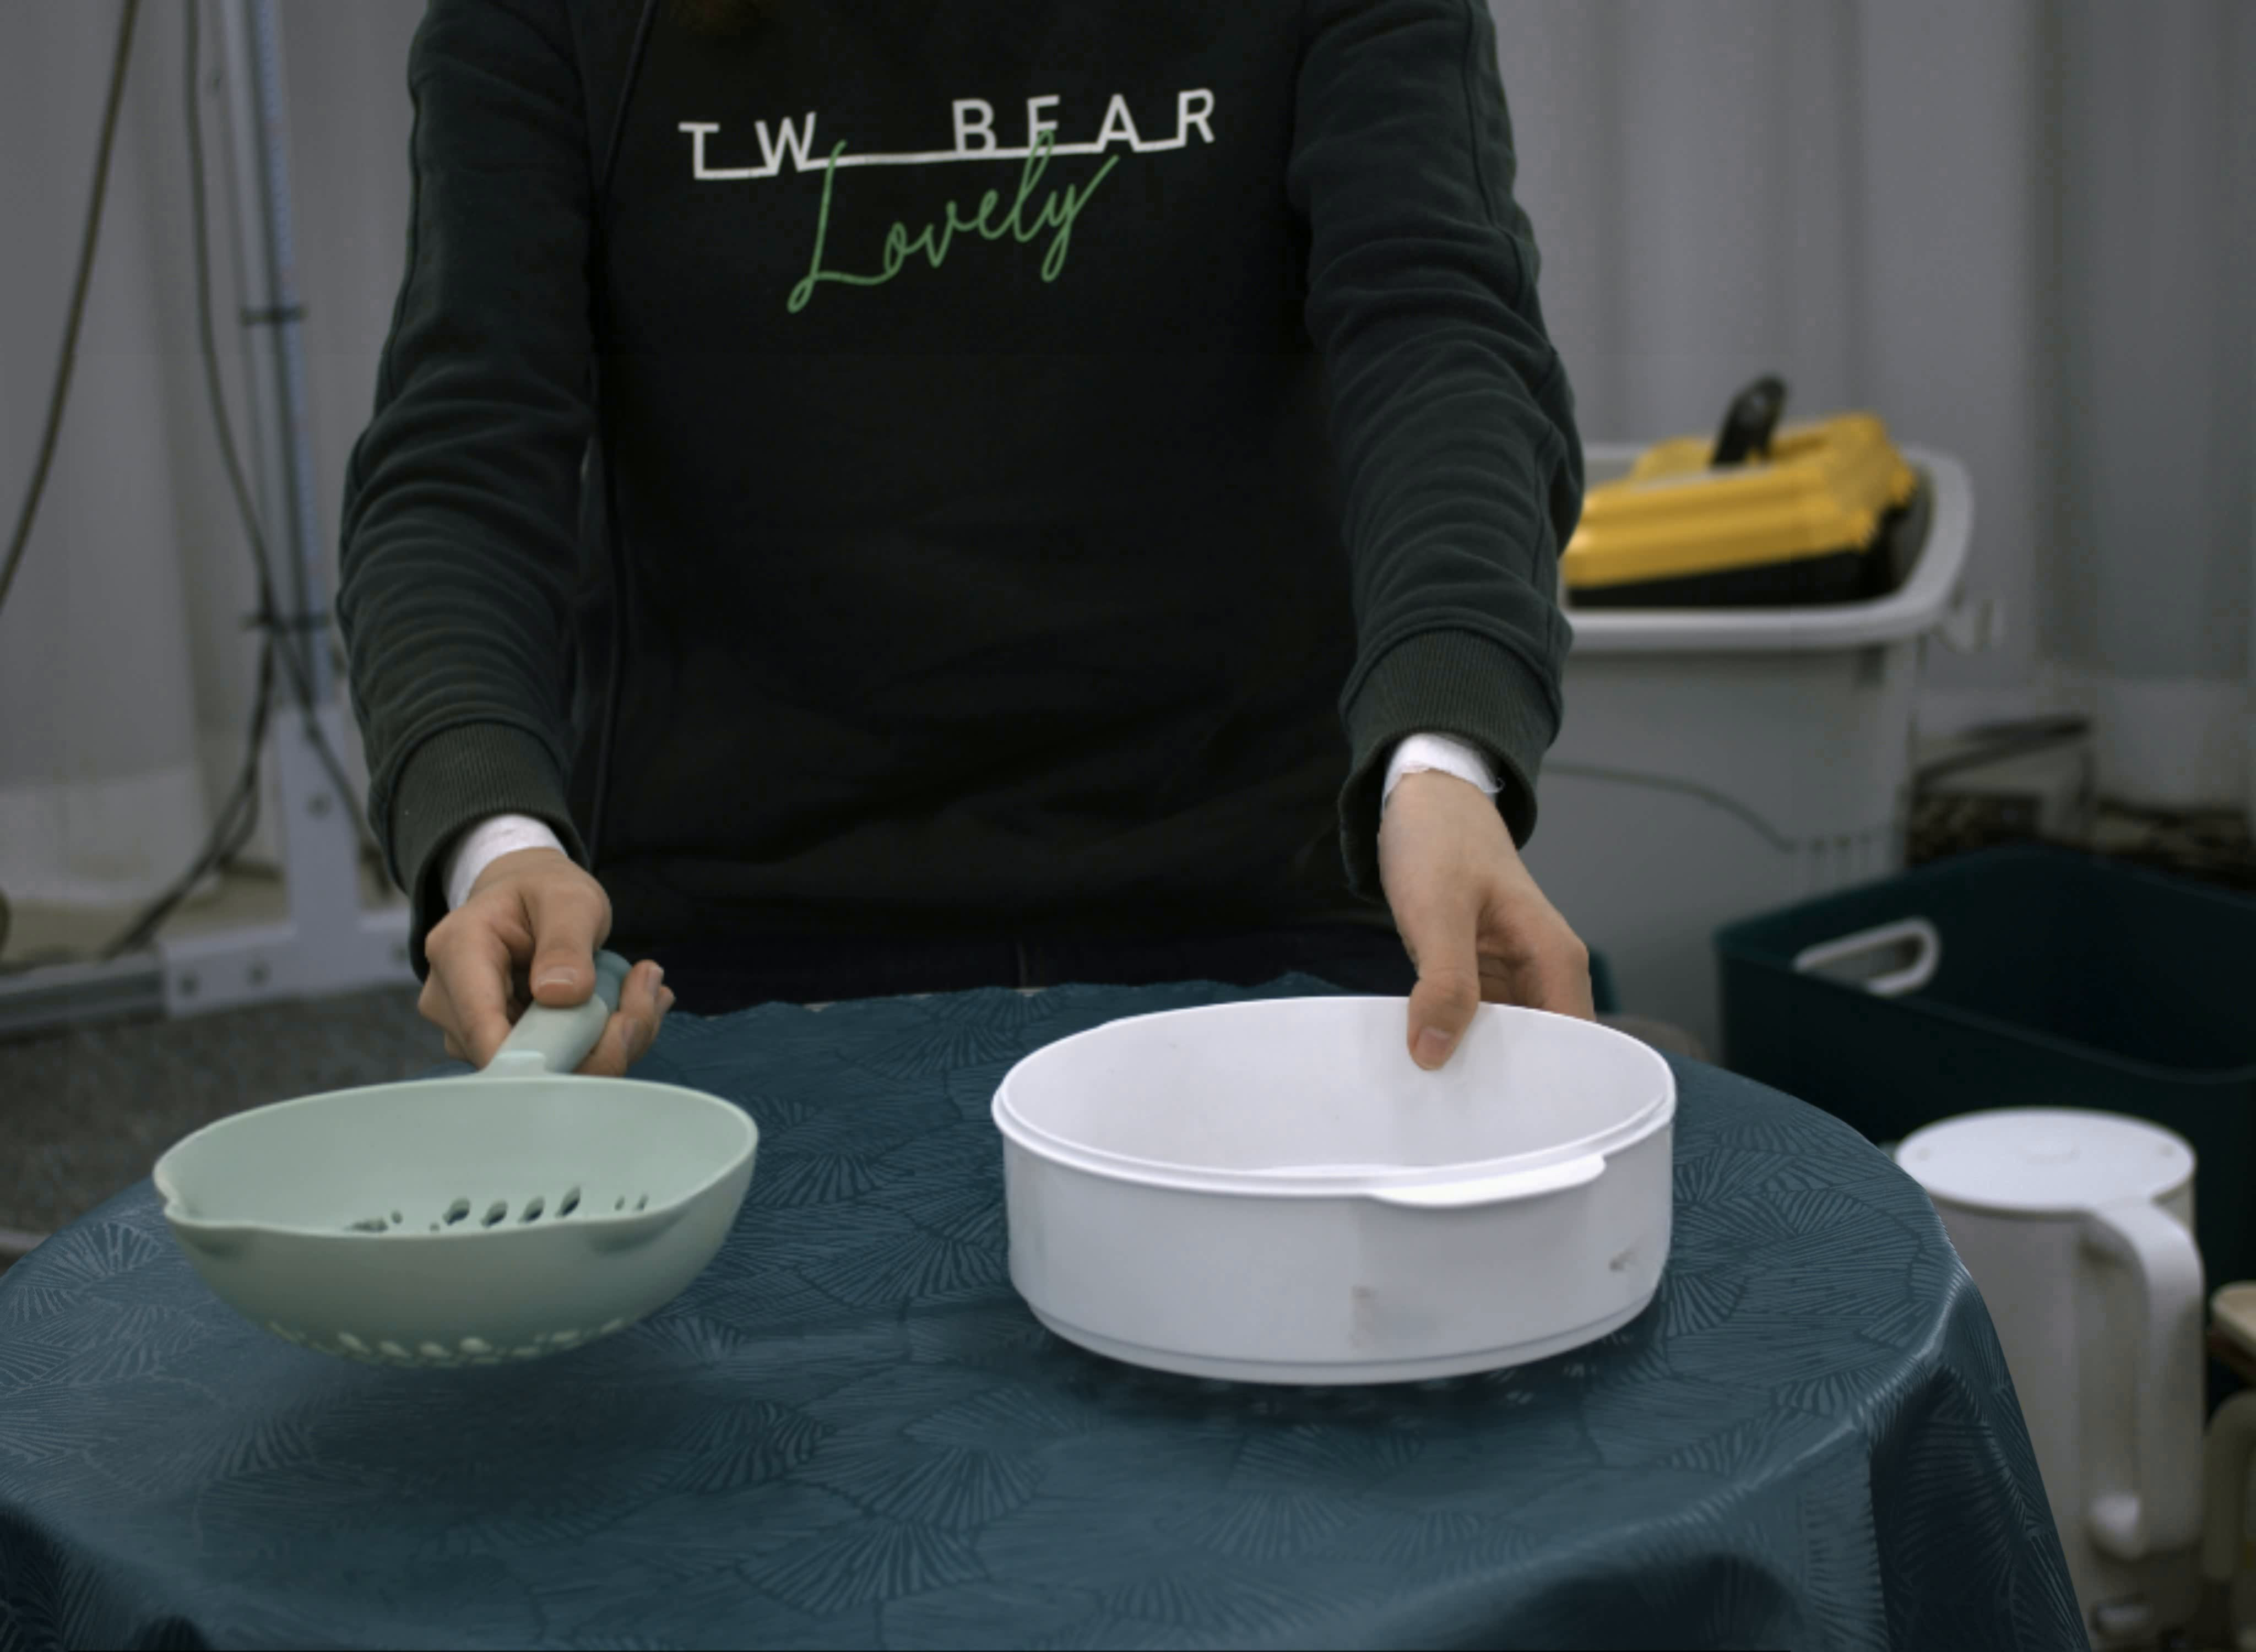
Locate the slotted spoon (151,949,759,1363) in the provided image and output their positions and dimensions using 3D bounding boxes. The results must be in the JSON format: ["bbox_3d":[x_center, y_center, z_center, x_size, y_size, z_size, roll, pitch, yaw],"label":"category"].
[{"bbox_3d":[-0.181,0.082,1.622,0.169,0.075,0.362,-1,19,4],"label":"slotted spoon"}]

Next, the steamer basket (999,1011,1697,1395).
[{"bbox_3d":[0.064,0.108,1.583,0.201,0.069,0.232,-6,13,-24],"label":"steamer basket"}]
